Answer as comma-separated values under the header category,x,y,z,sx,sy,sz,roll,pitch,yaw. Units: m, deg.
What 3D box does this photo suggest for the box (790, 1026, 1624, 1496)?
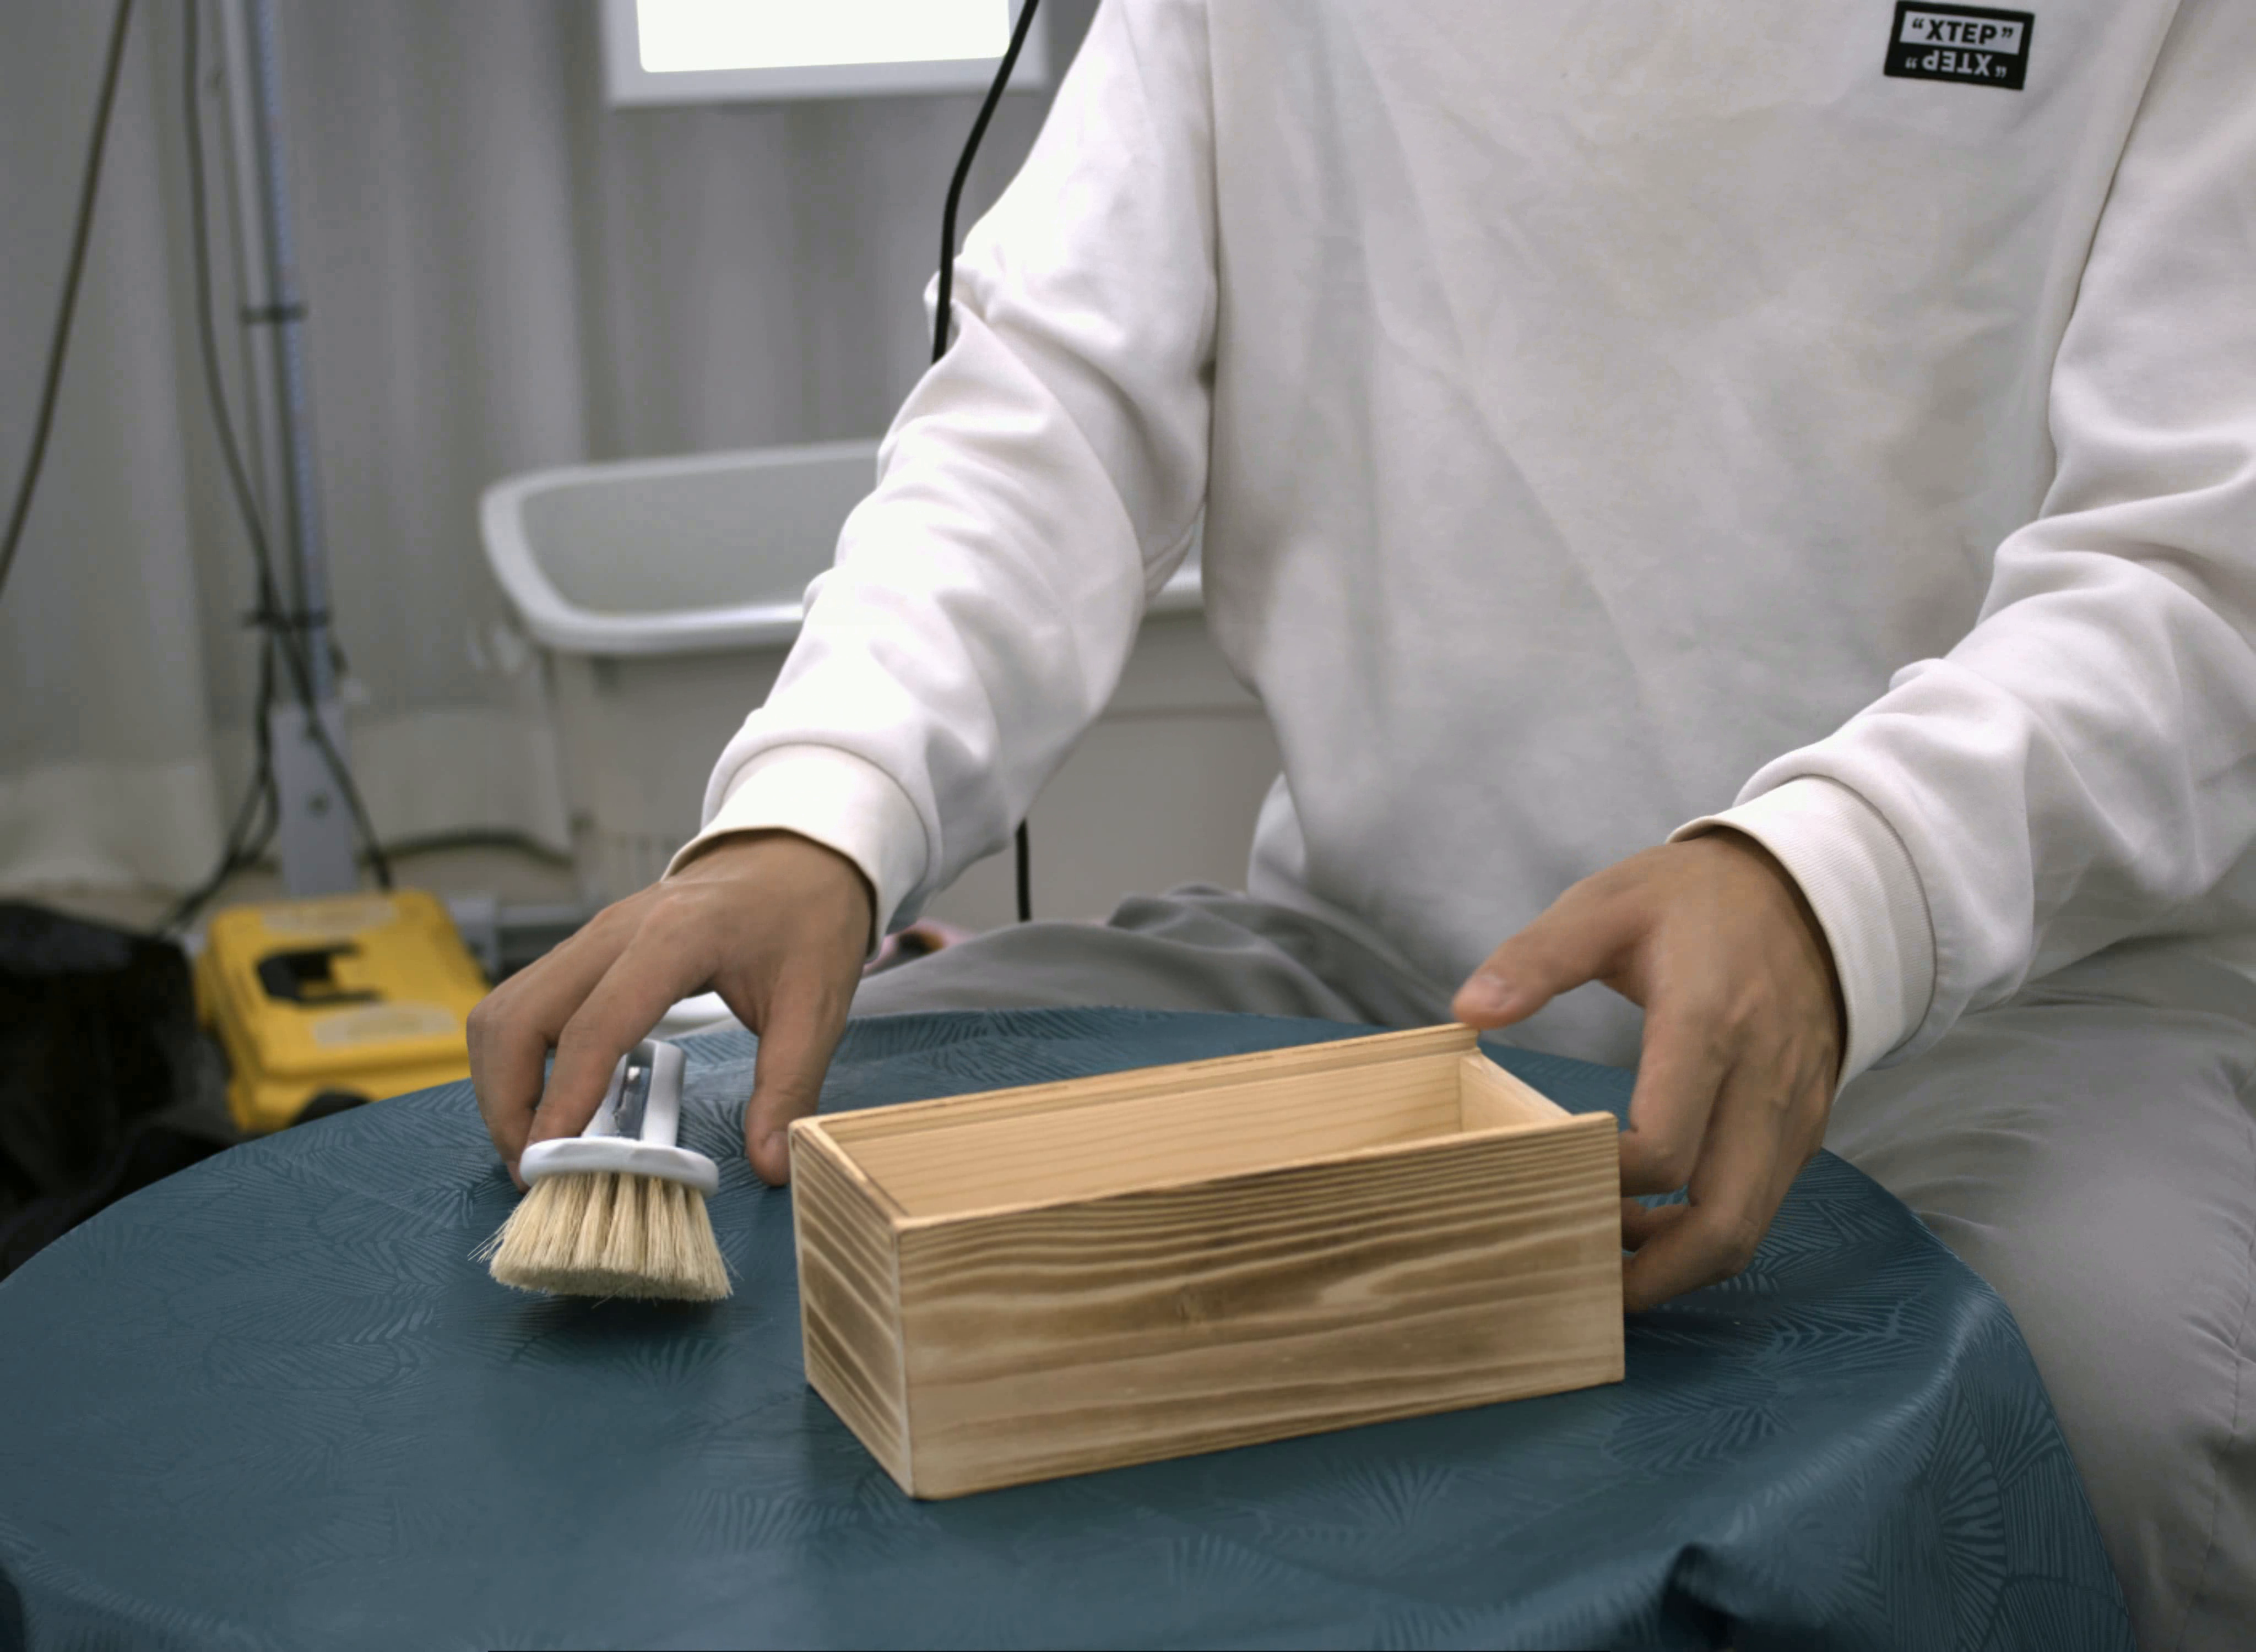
category,x,y,z,sx,sy,sz,roll,pitch,yaw
box,0.022,0.120,1.541,0.210,0.080,0.108,-7,14,-18

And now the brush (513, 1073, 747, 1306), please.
category,x,y,z,sx,sy,sz,roll,pitch,yaw
brush,-0.154,0.113,1.725,0.068,0.056,0.266,16,-1,-5
